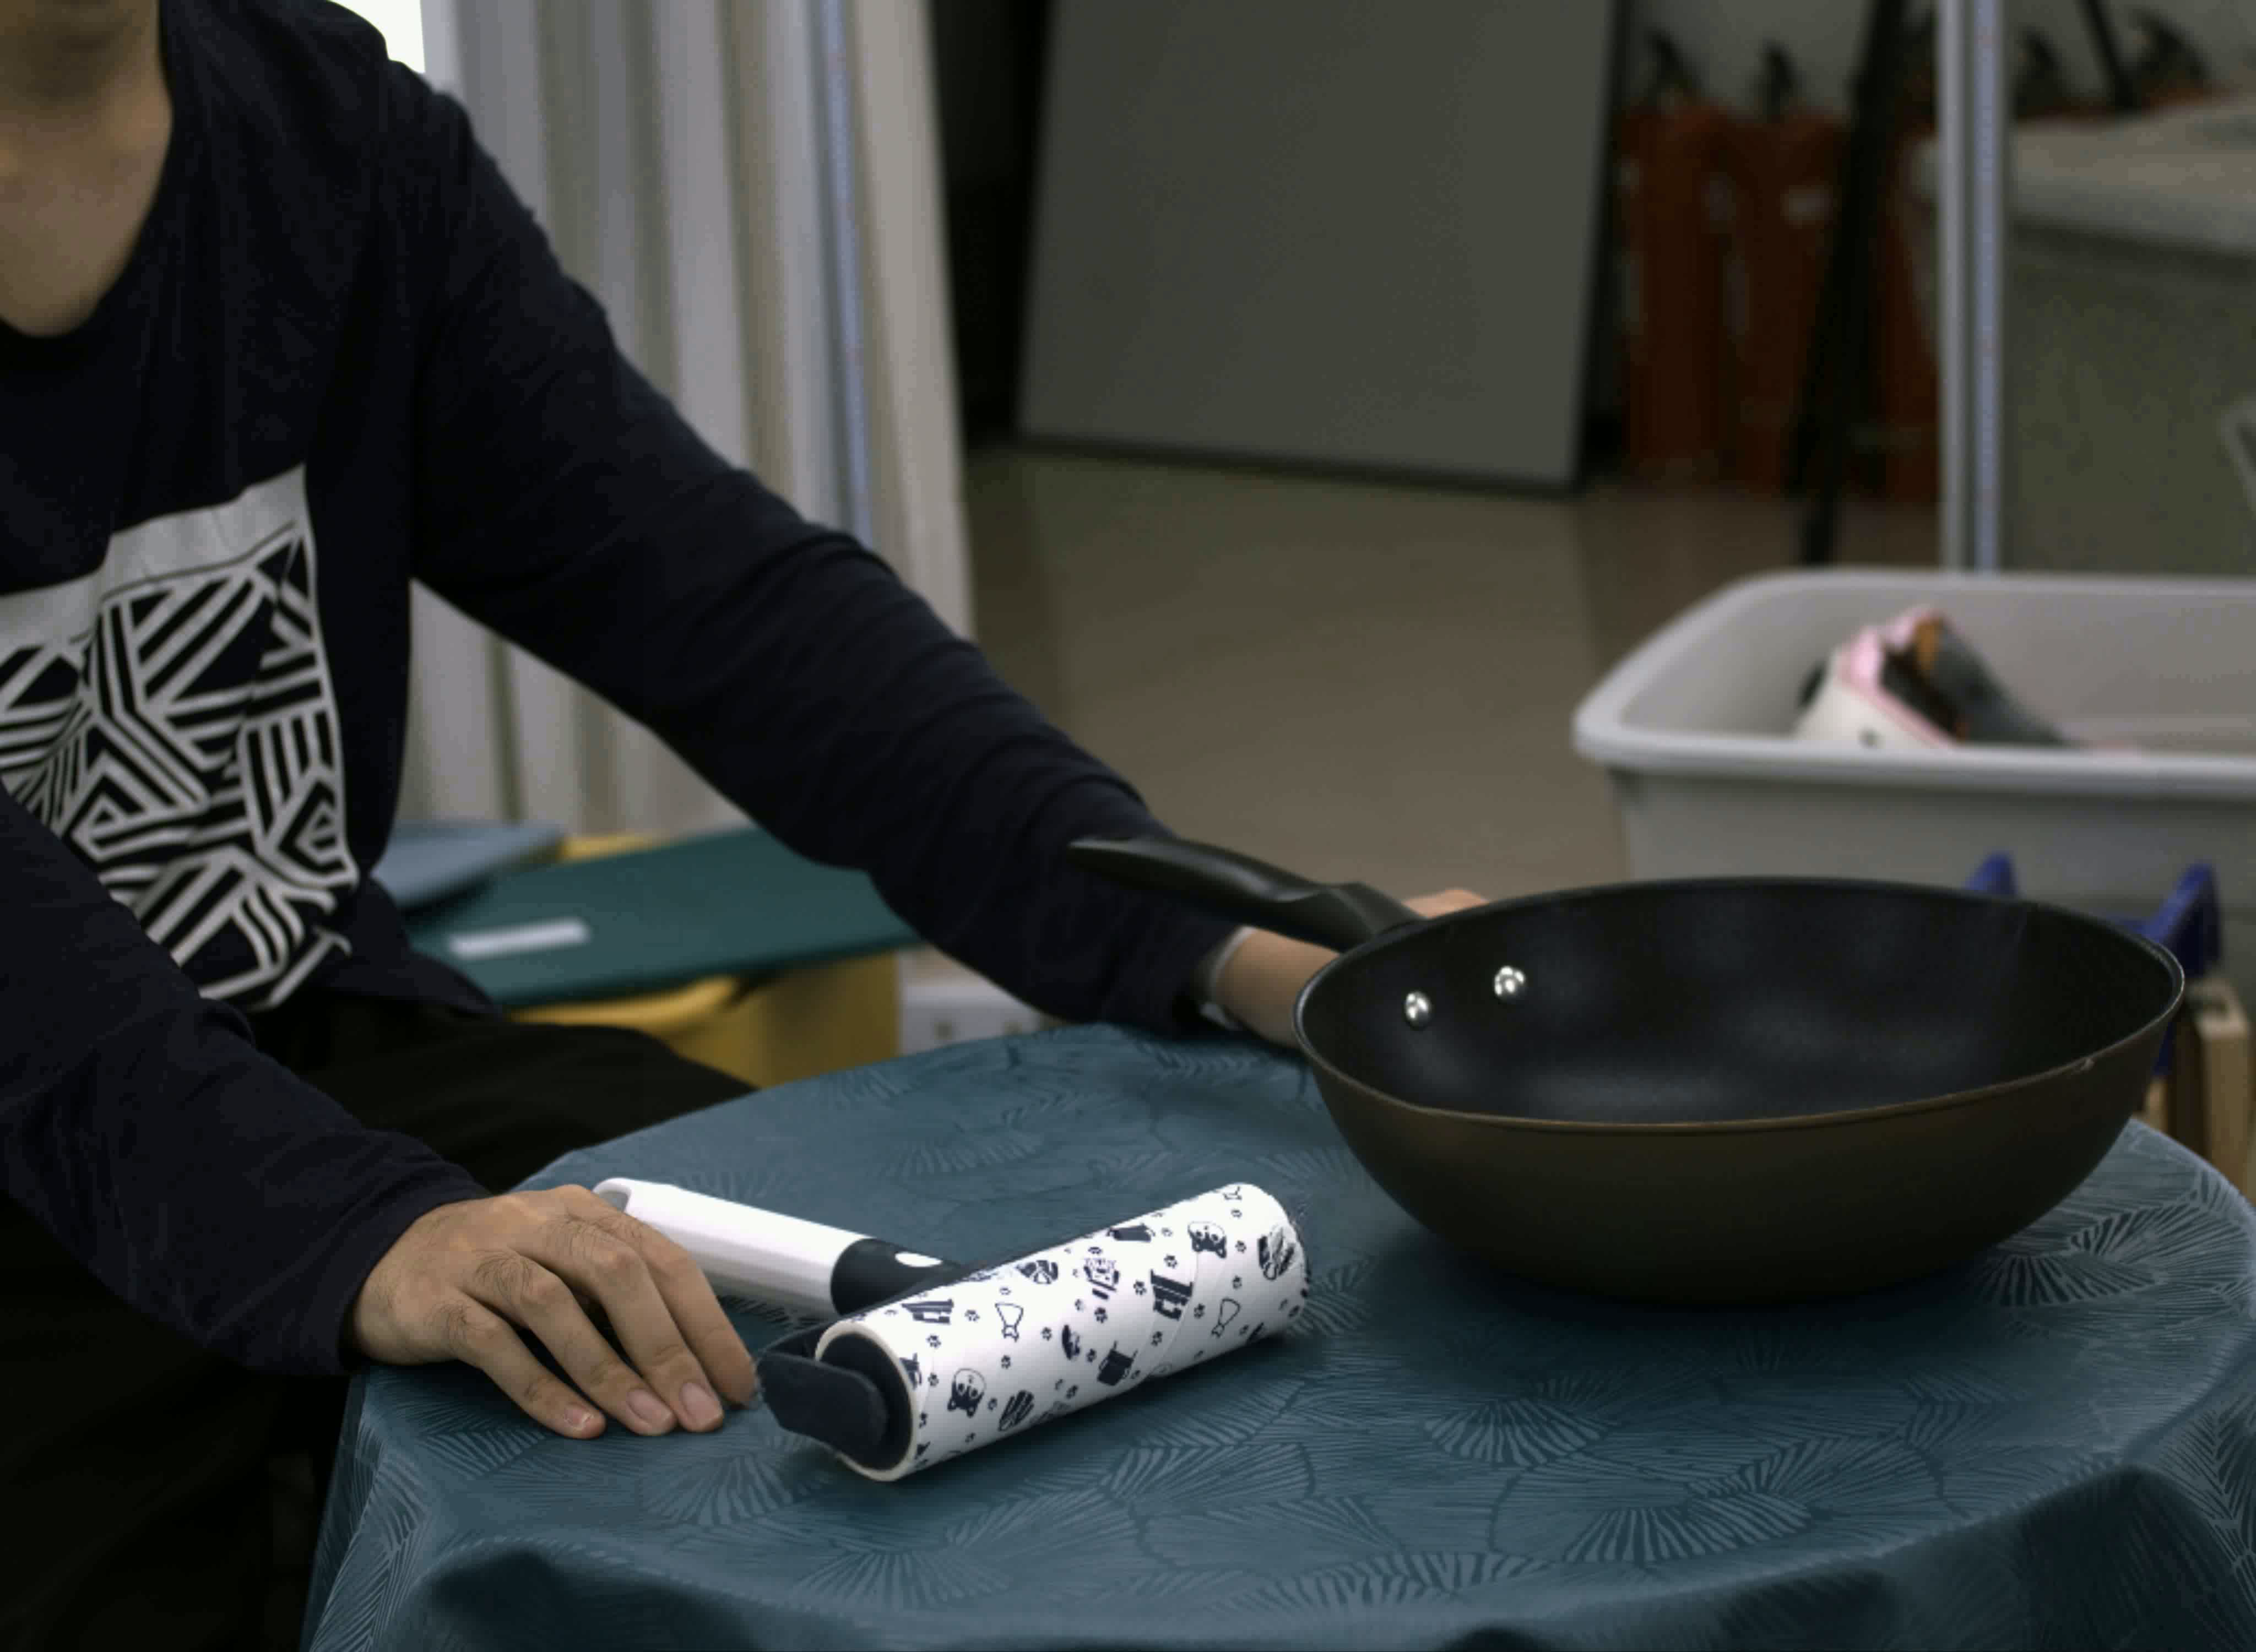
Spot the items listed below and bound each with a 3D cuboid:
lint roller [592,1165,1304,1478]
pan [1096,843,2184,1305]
[{"bbox_3d":[-0.087,0.139,1.648,0.172,0.051,0.249,-18,15,-40],"label":"lint roller"},{"bbox_3d":[0.133,0.075,1.749,0.282,0.088,0.468,-15,16,-35],"label":"pan"}]
